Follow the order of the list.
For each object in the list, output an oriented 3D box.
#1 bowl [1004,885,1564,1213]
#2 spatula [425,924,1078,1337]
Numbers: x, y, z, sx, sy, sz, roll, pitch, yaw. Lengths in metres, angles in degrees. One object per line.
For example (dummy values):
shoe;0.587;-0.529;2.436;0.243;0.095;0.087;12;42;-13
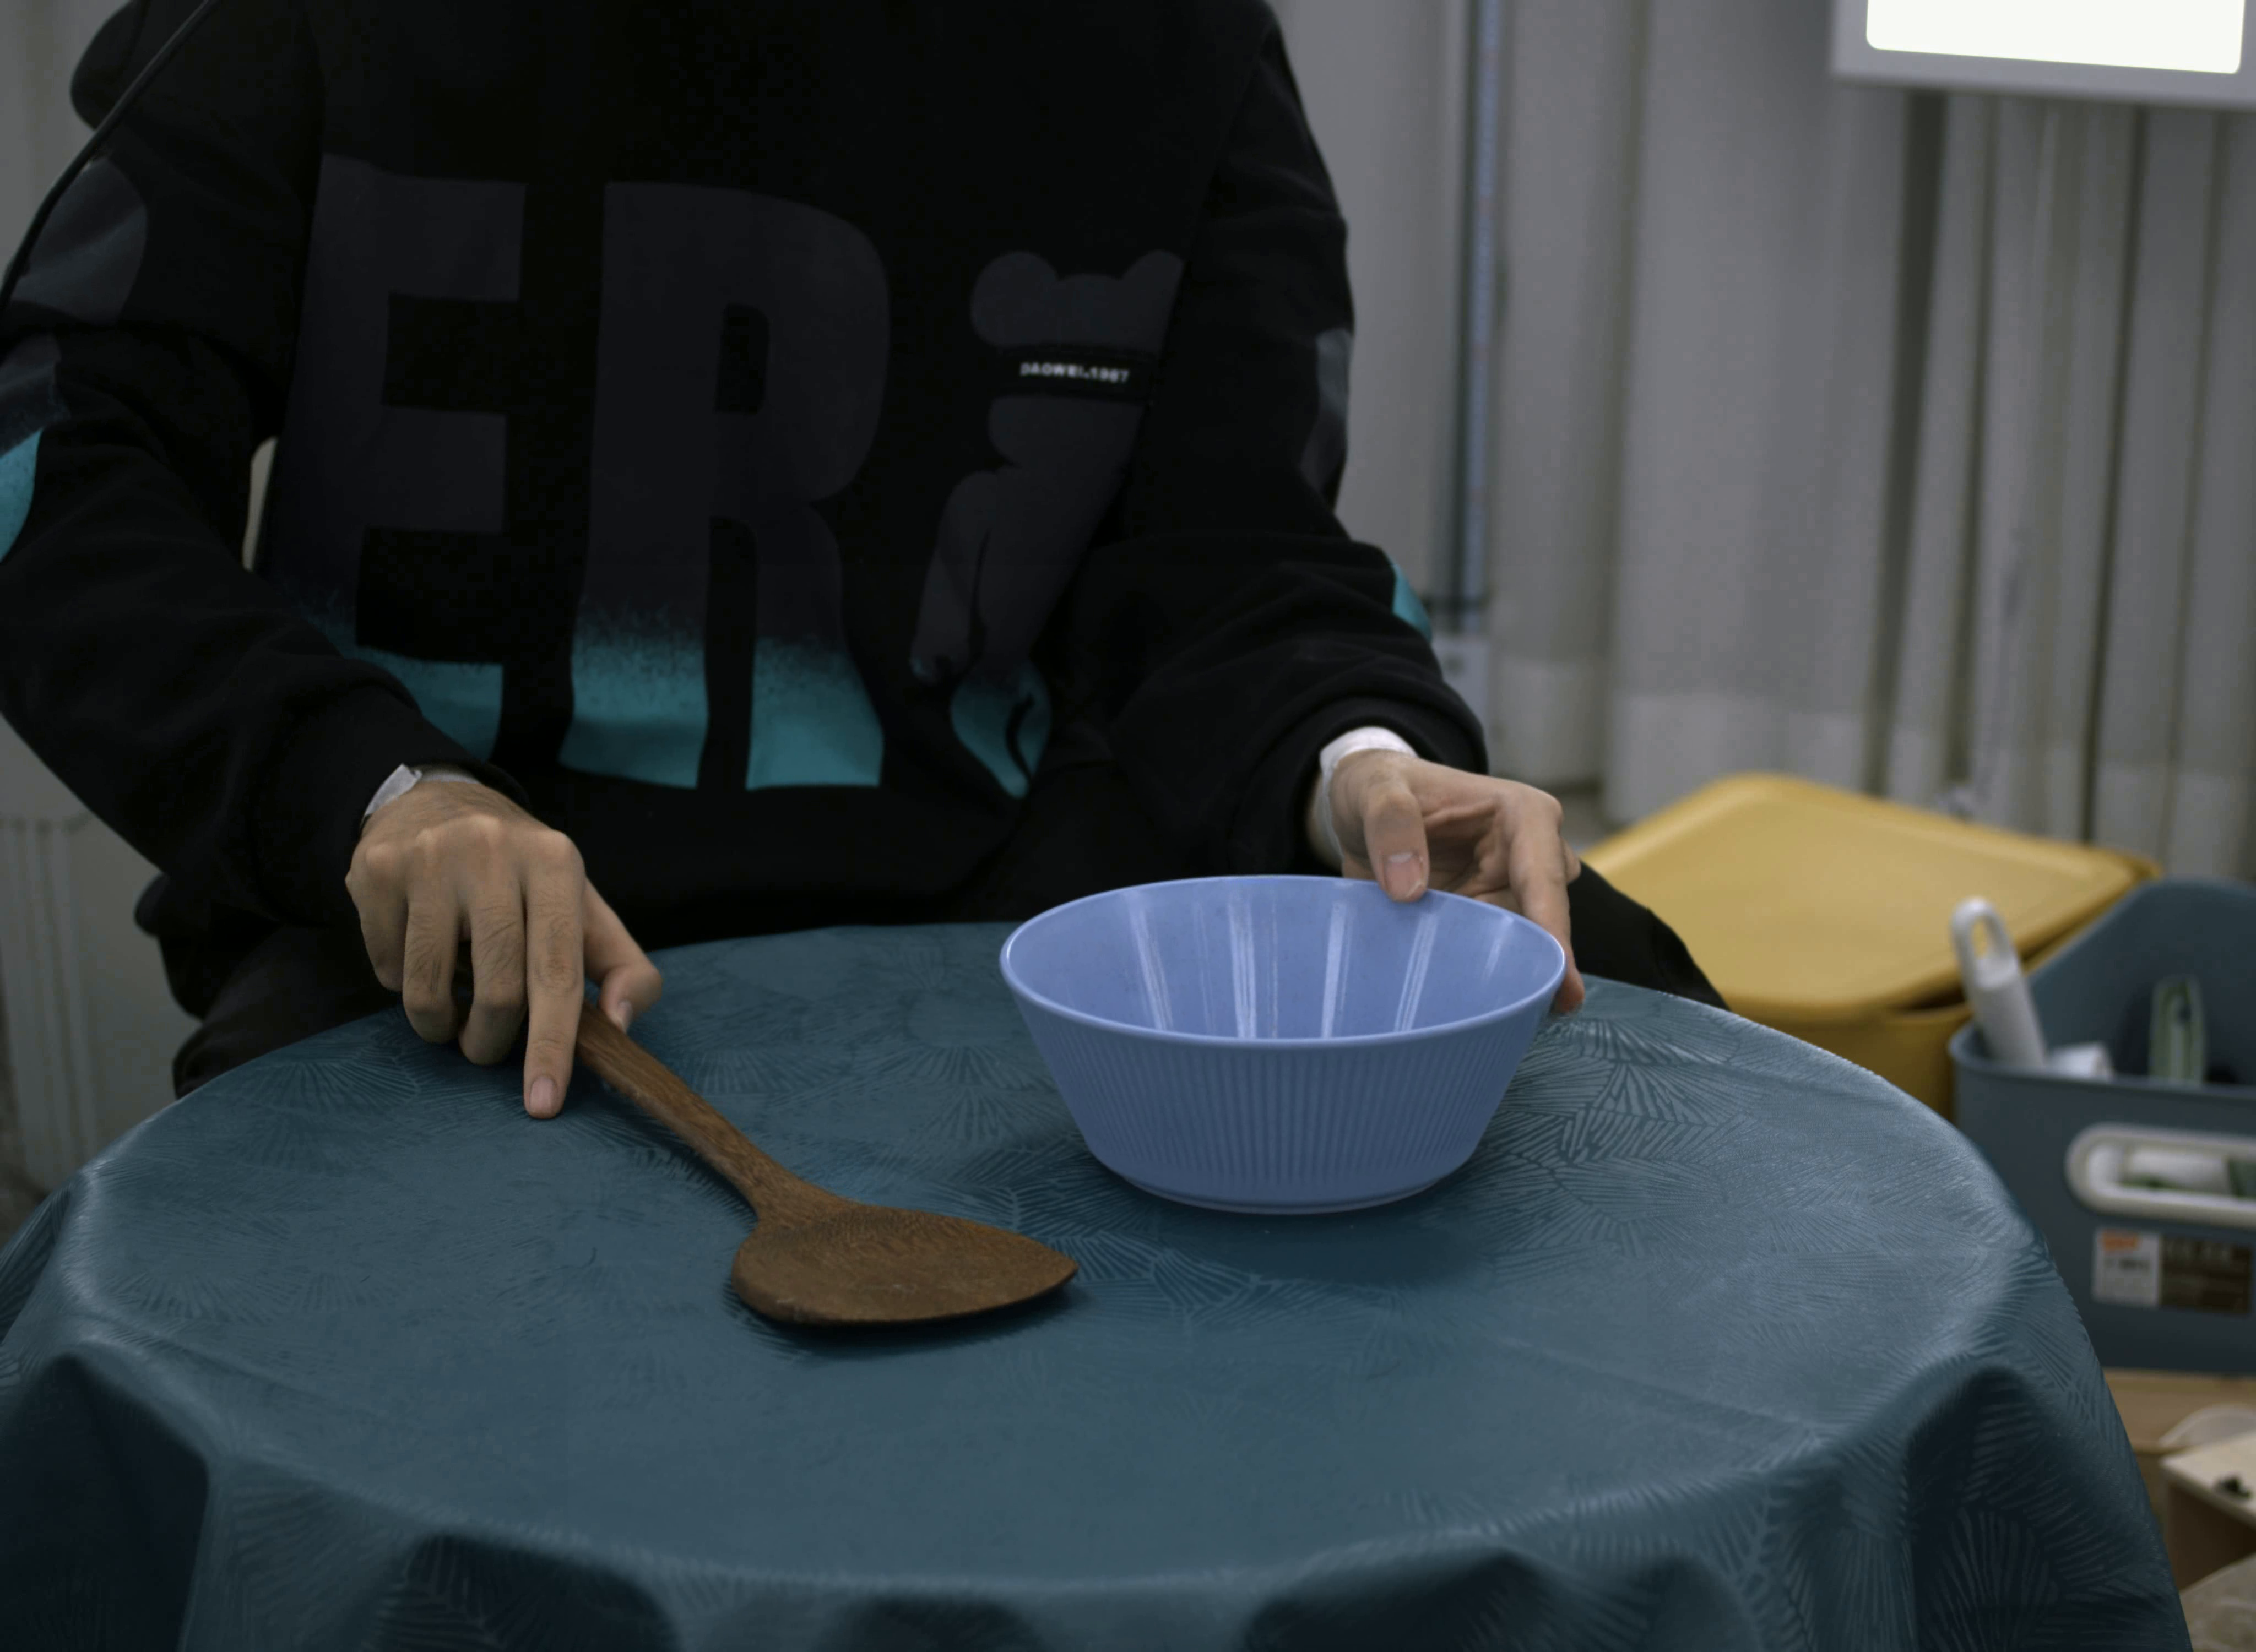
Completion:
bowl;0.049;0.072;1.645;0.175;0.071;0.175;0;15;0
spatula;-0.141;0.089;1.658;0.096;0.016;0.381;-8;21;-29
